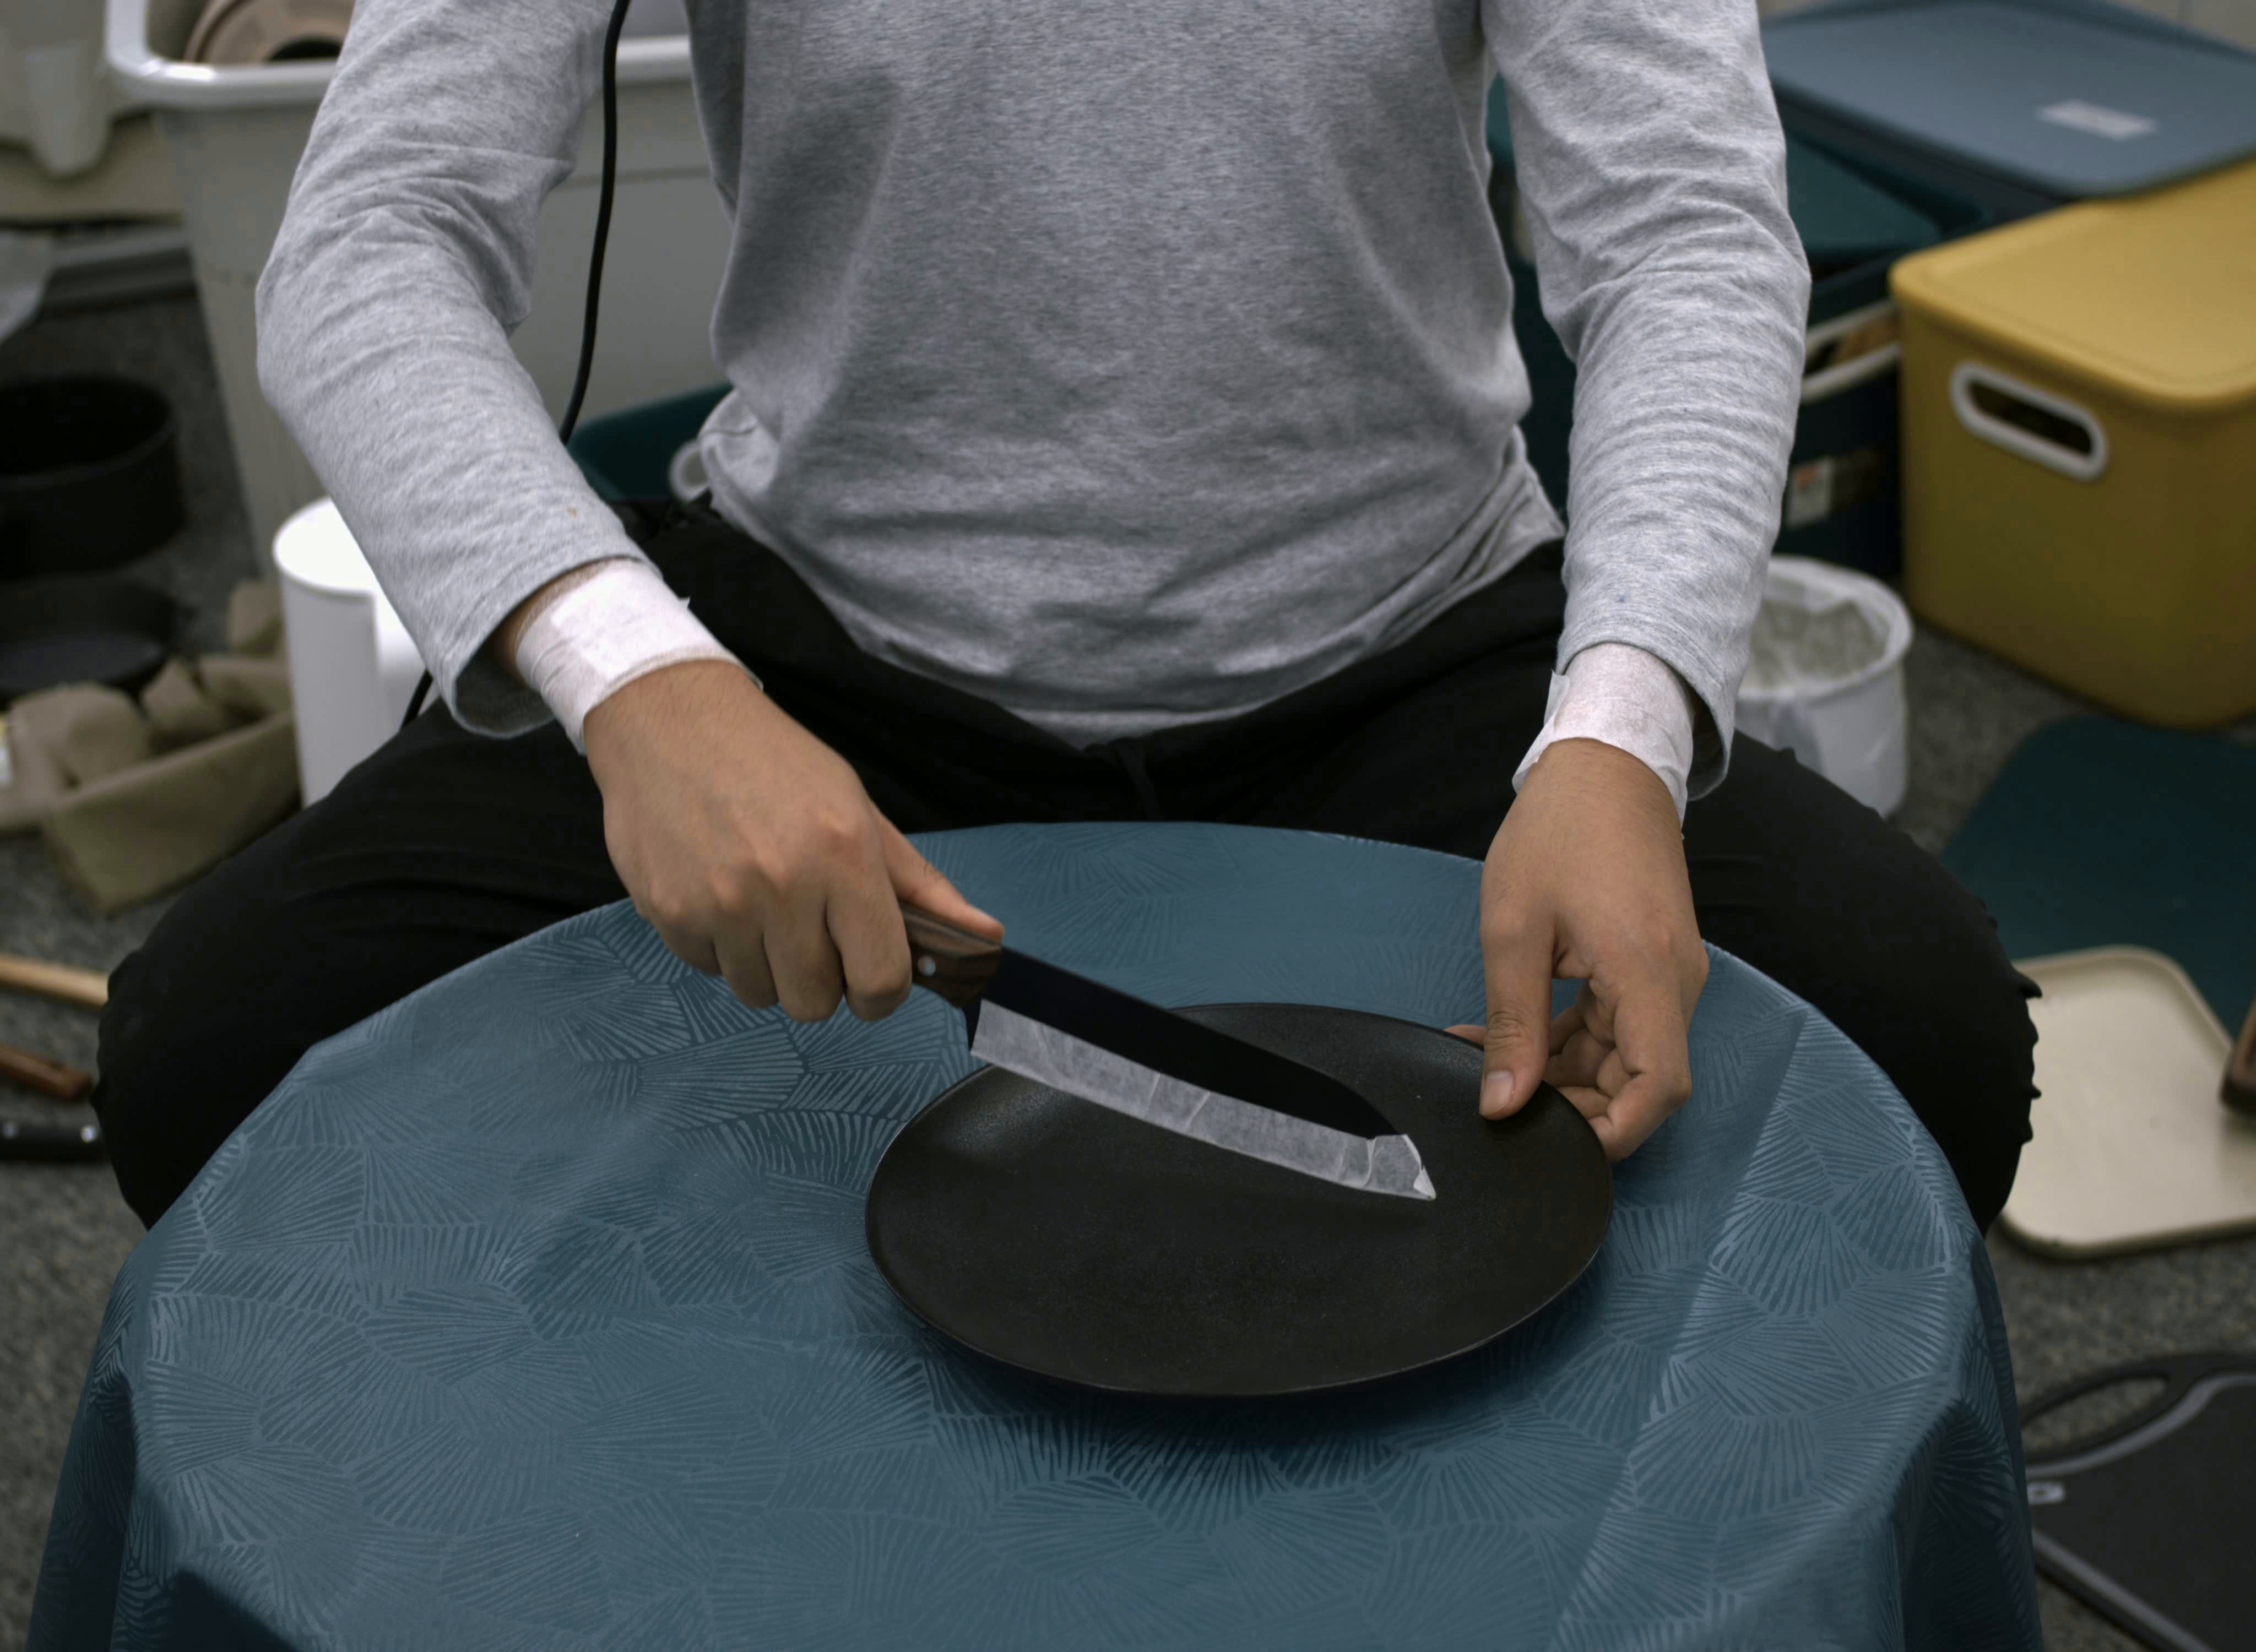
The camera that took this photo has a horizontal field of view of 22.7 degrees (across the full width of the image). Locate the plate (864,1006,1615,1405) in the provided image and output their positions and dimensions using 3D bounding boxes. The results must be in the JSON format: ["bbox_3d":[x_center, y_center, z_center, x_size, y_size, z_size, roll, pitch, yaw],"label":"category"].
[{"bbox_3d":[0.036,0.127,1.823,0.243,0.023,0.248,-2,27,2],"label":"plate"}]

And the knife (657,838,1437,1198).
[{"bbox_3d":[-0.028,0.064,1.856,0.288,0.049,0.020,22,30,15],"label":"knife"}]
